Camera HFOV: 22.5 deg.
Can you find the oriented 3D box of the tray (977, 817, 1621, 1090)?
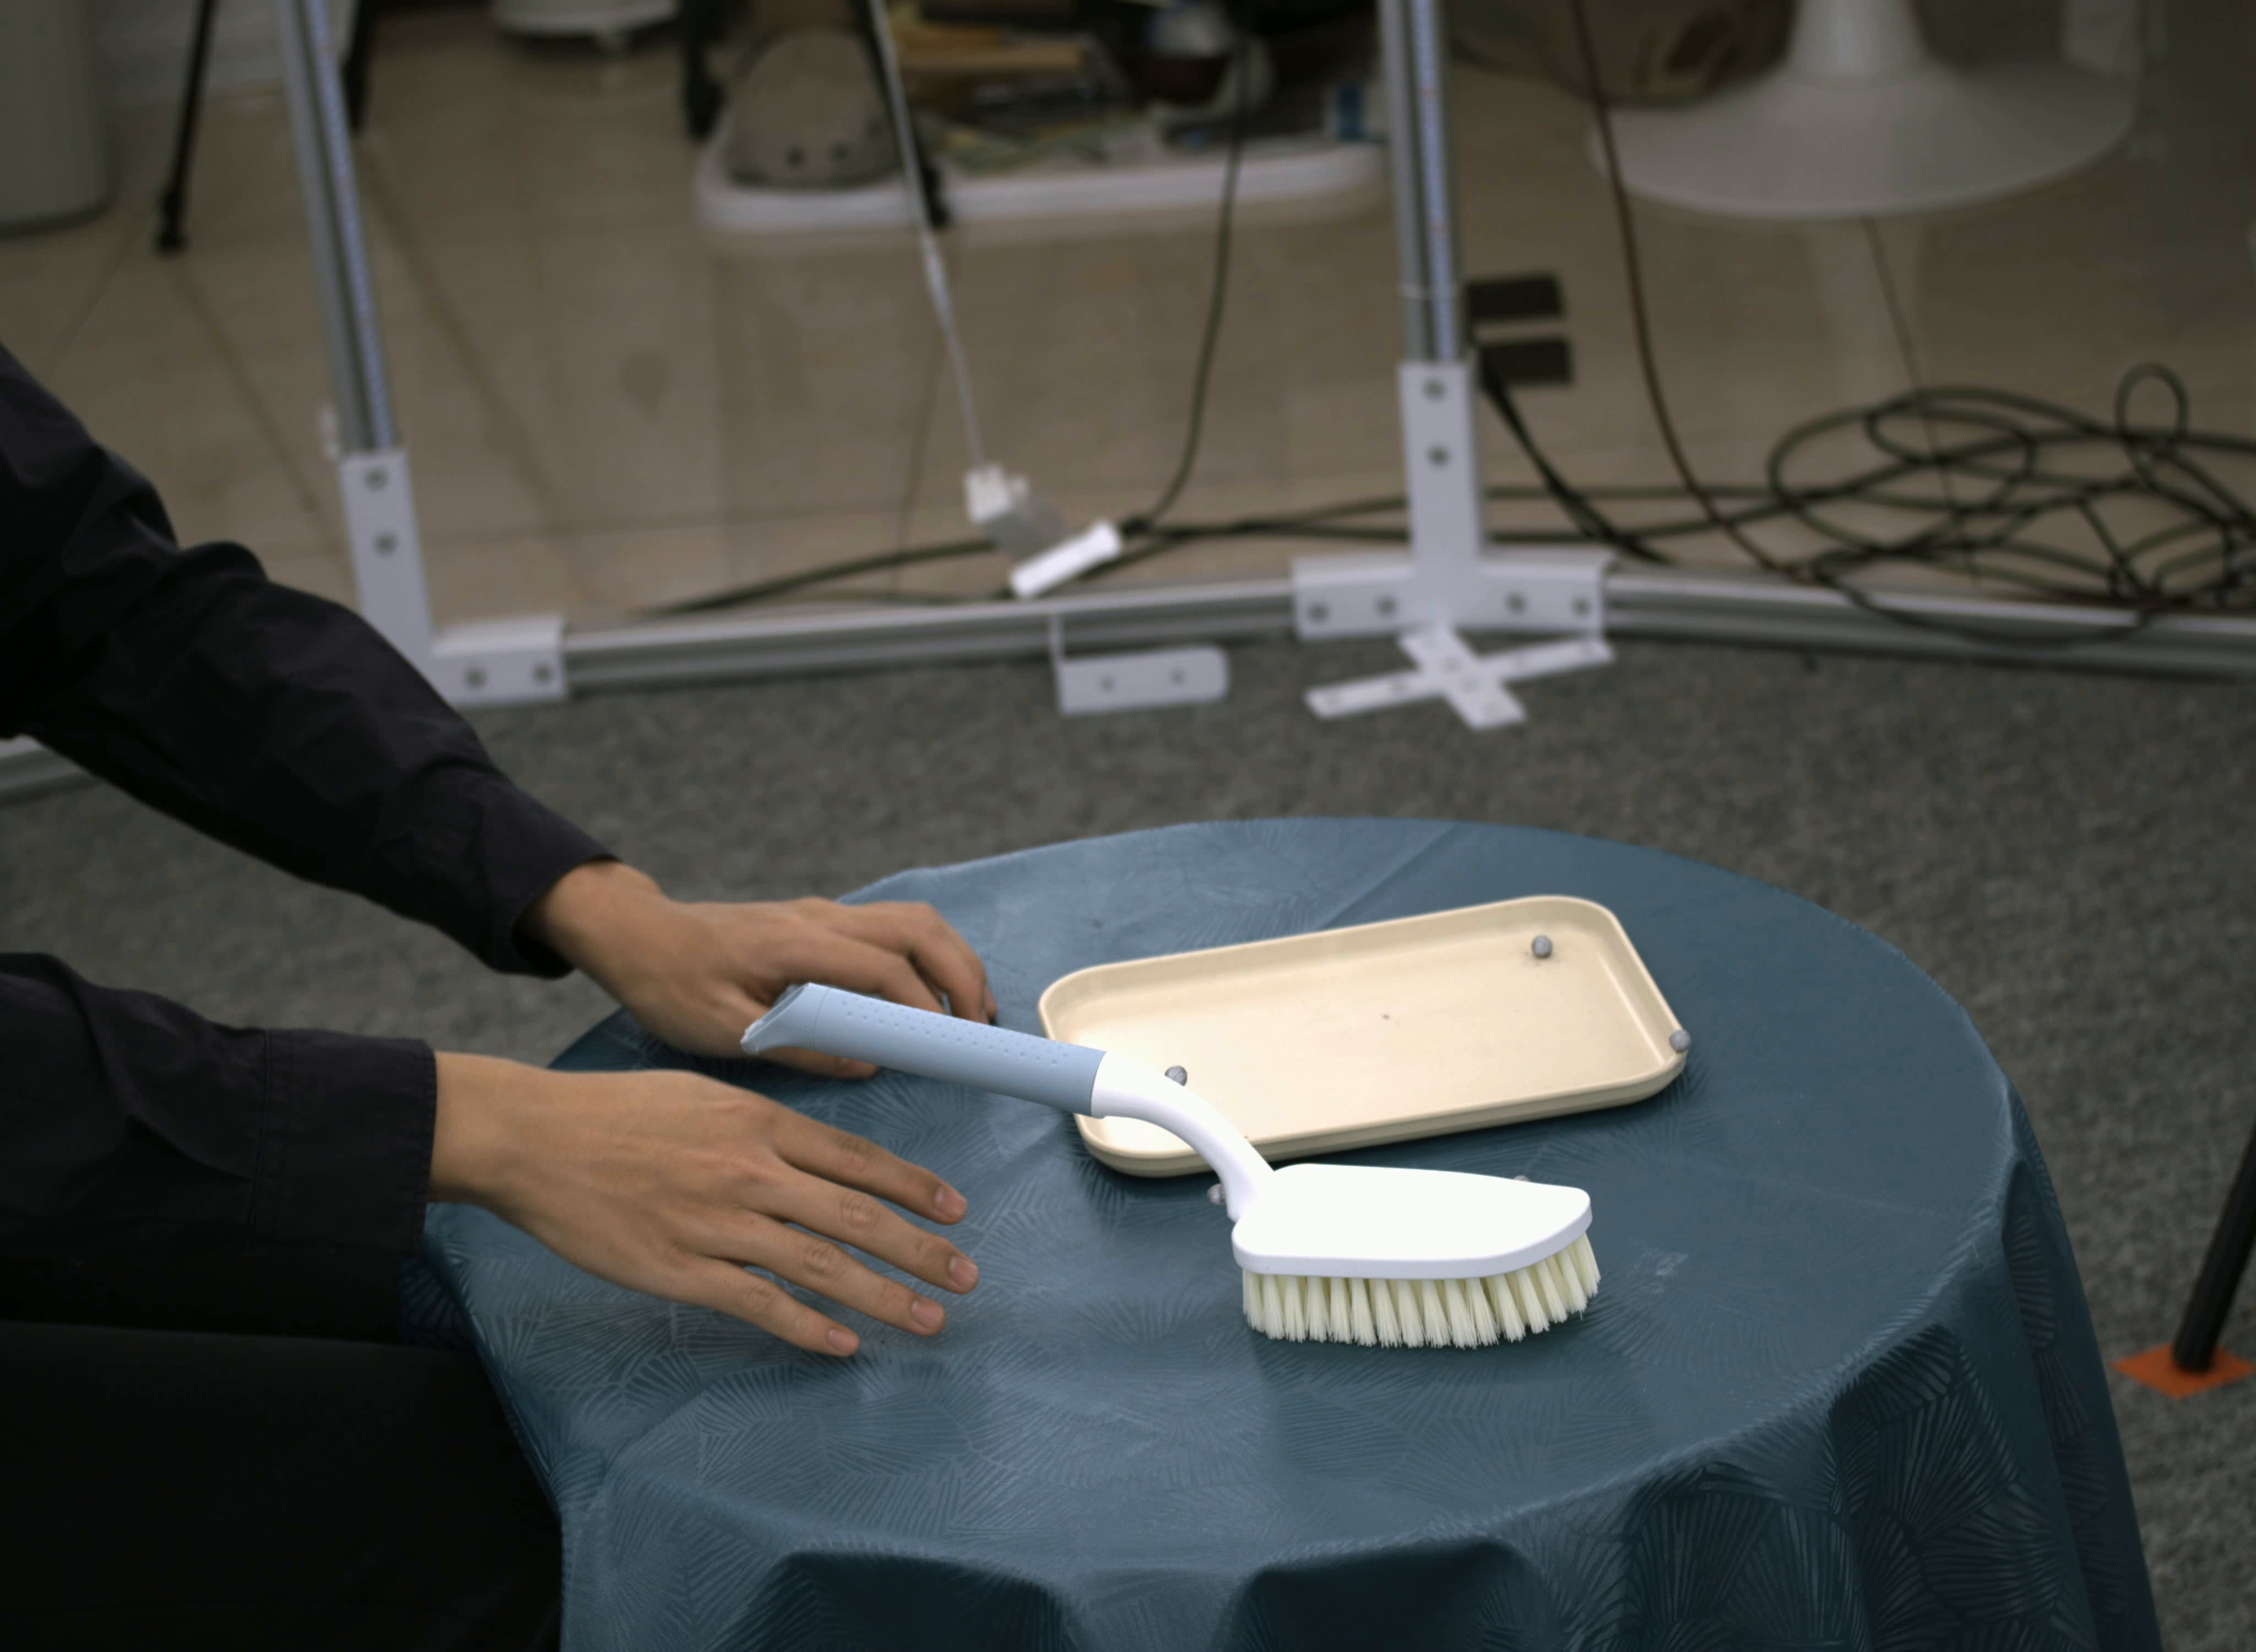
[{"bbox_3d":[0.066,0.051,2.247,0.239,0.018,0.169,-9,25,-6],"label":"tray"}]

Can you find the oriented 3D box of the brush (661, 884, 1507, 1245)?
[{"bbox_3d":[-0.019,0.098,2.087,0.324,0.084,0.083,13,-7,12],"label":"brush"}]
